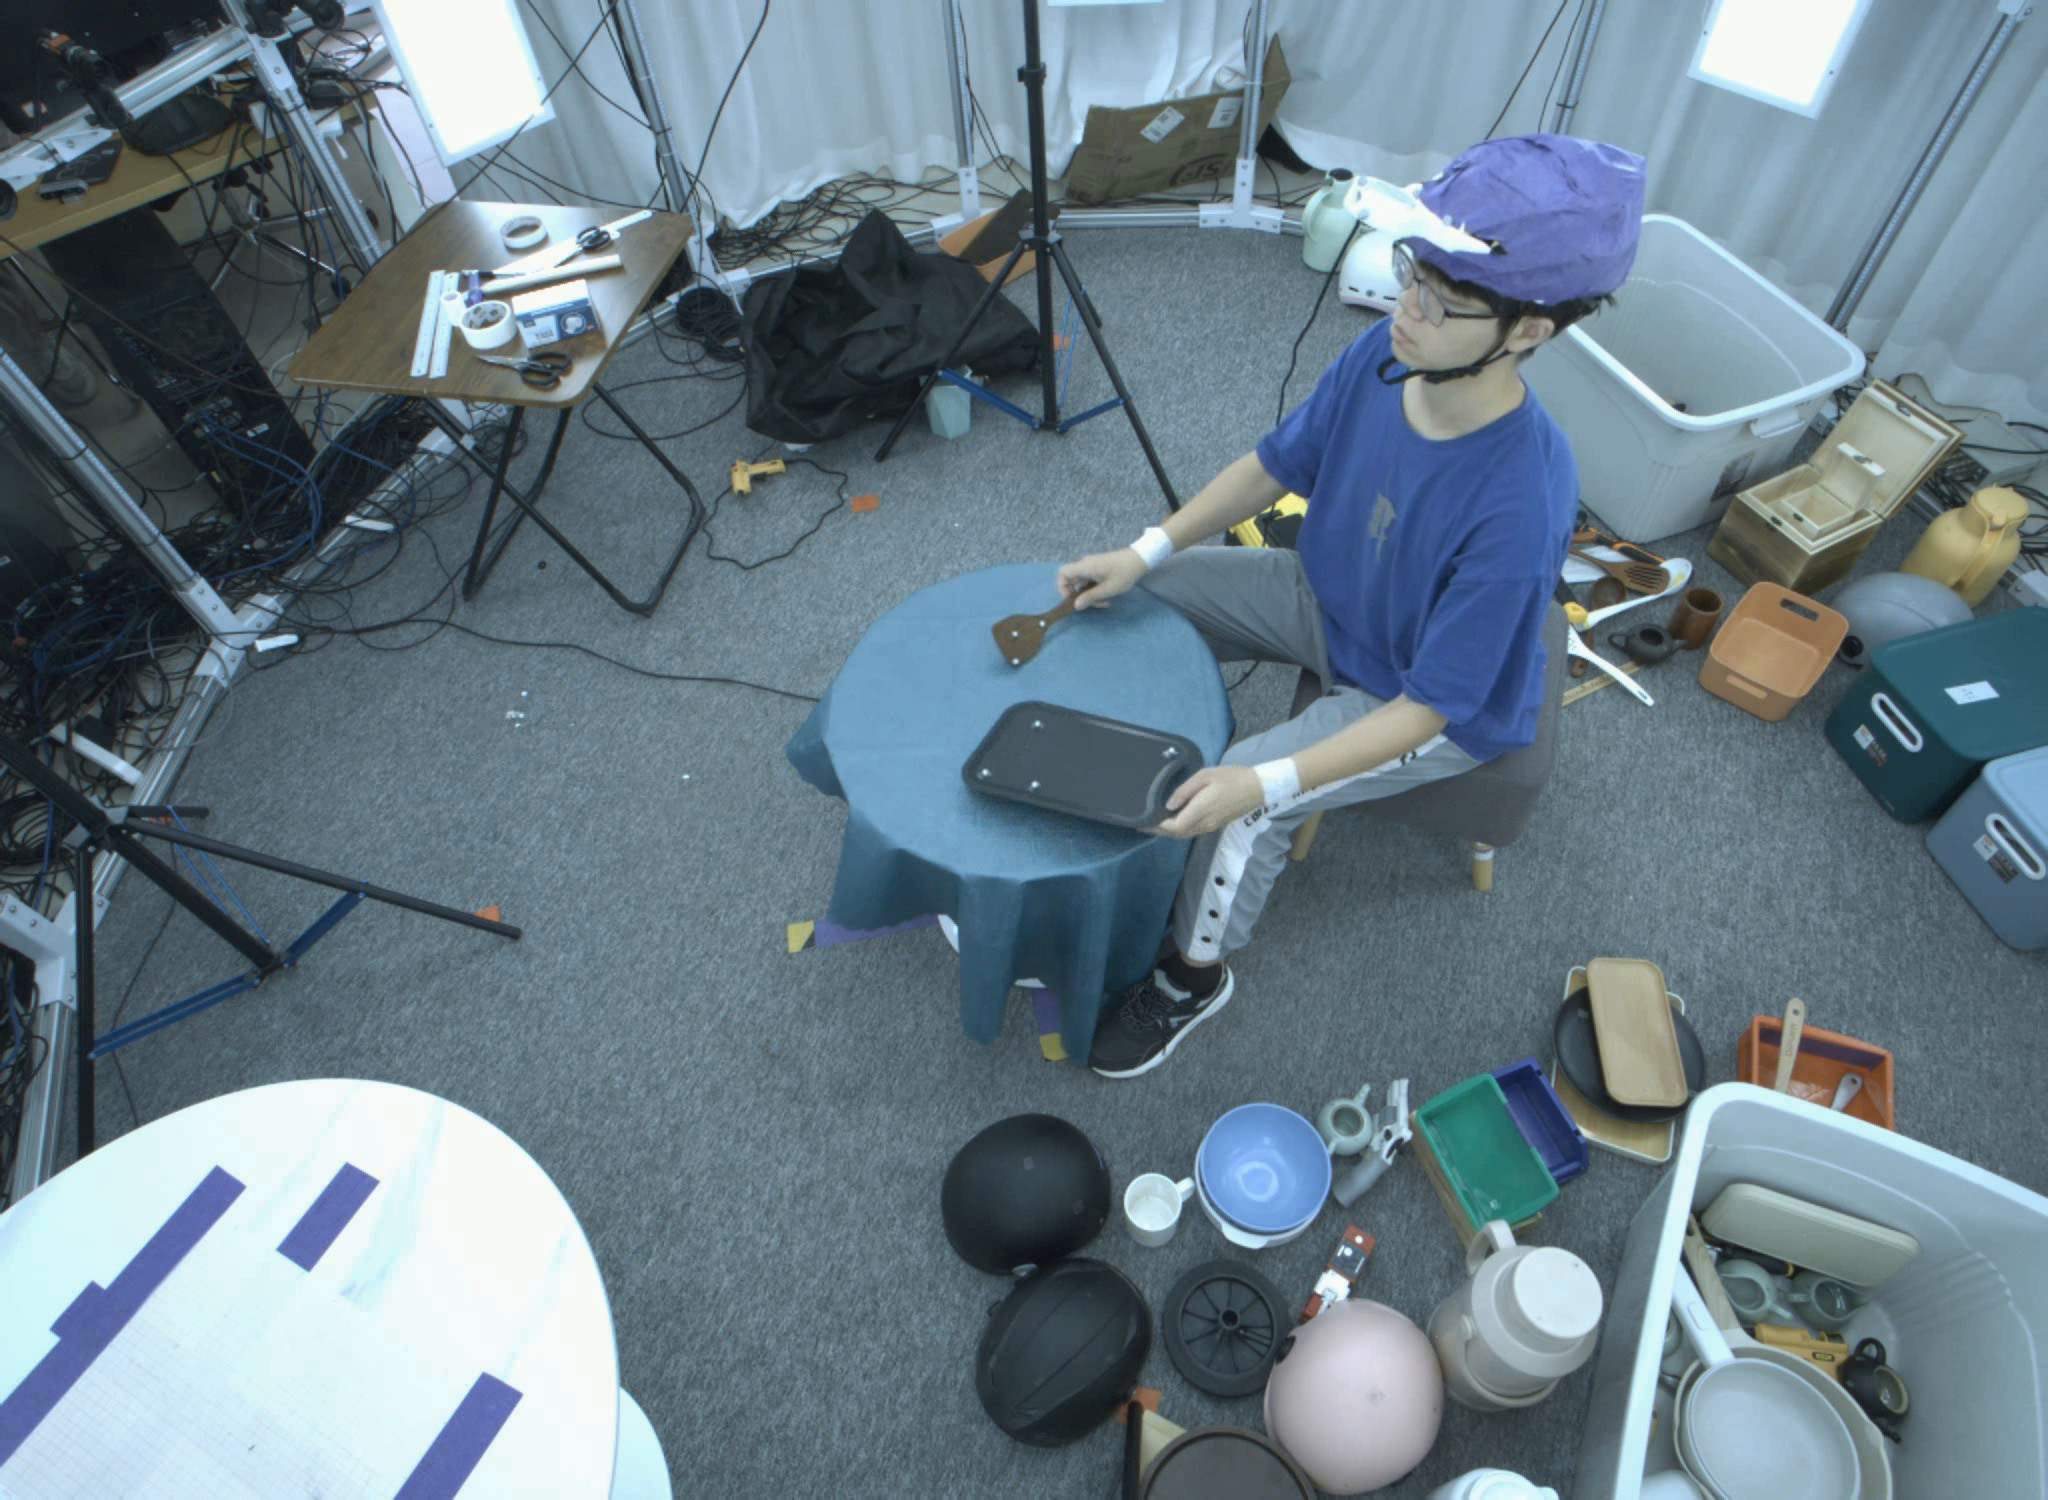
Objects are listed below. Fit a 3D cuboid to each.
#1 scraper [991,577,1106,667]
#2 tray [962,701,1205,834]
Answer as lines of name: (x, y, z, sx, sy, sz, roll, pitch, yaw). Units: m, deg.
scraper: (0.042, -0.207, 1.889, 0.213, 0.010, 0.076, -34, 105, -22)
tray: (0.089, 0.020, 1.716, 0.320, 0.010, 0.212, 15, 45, 21)
